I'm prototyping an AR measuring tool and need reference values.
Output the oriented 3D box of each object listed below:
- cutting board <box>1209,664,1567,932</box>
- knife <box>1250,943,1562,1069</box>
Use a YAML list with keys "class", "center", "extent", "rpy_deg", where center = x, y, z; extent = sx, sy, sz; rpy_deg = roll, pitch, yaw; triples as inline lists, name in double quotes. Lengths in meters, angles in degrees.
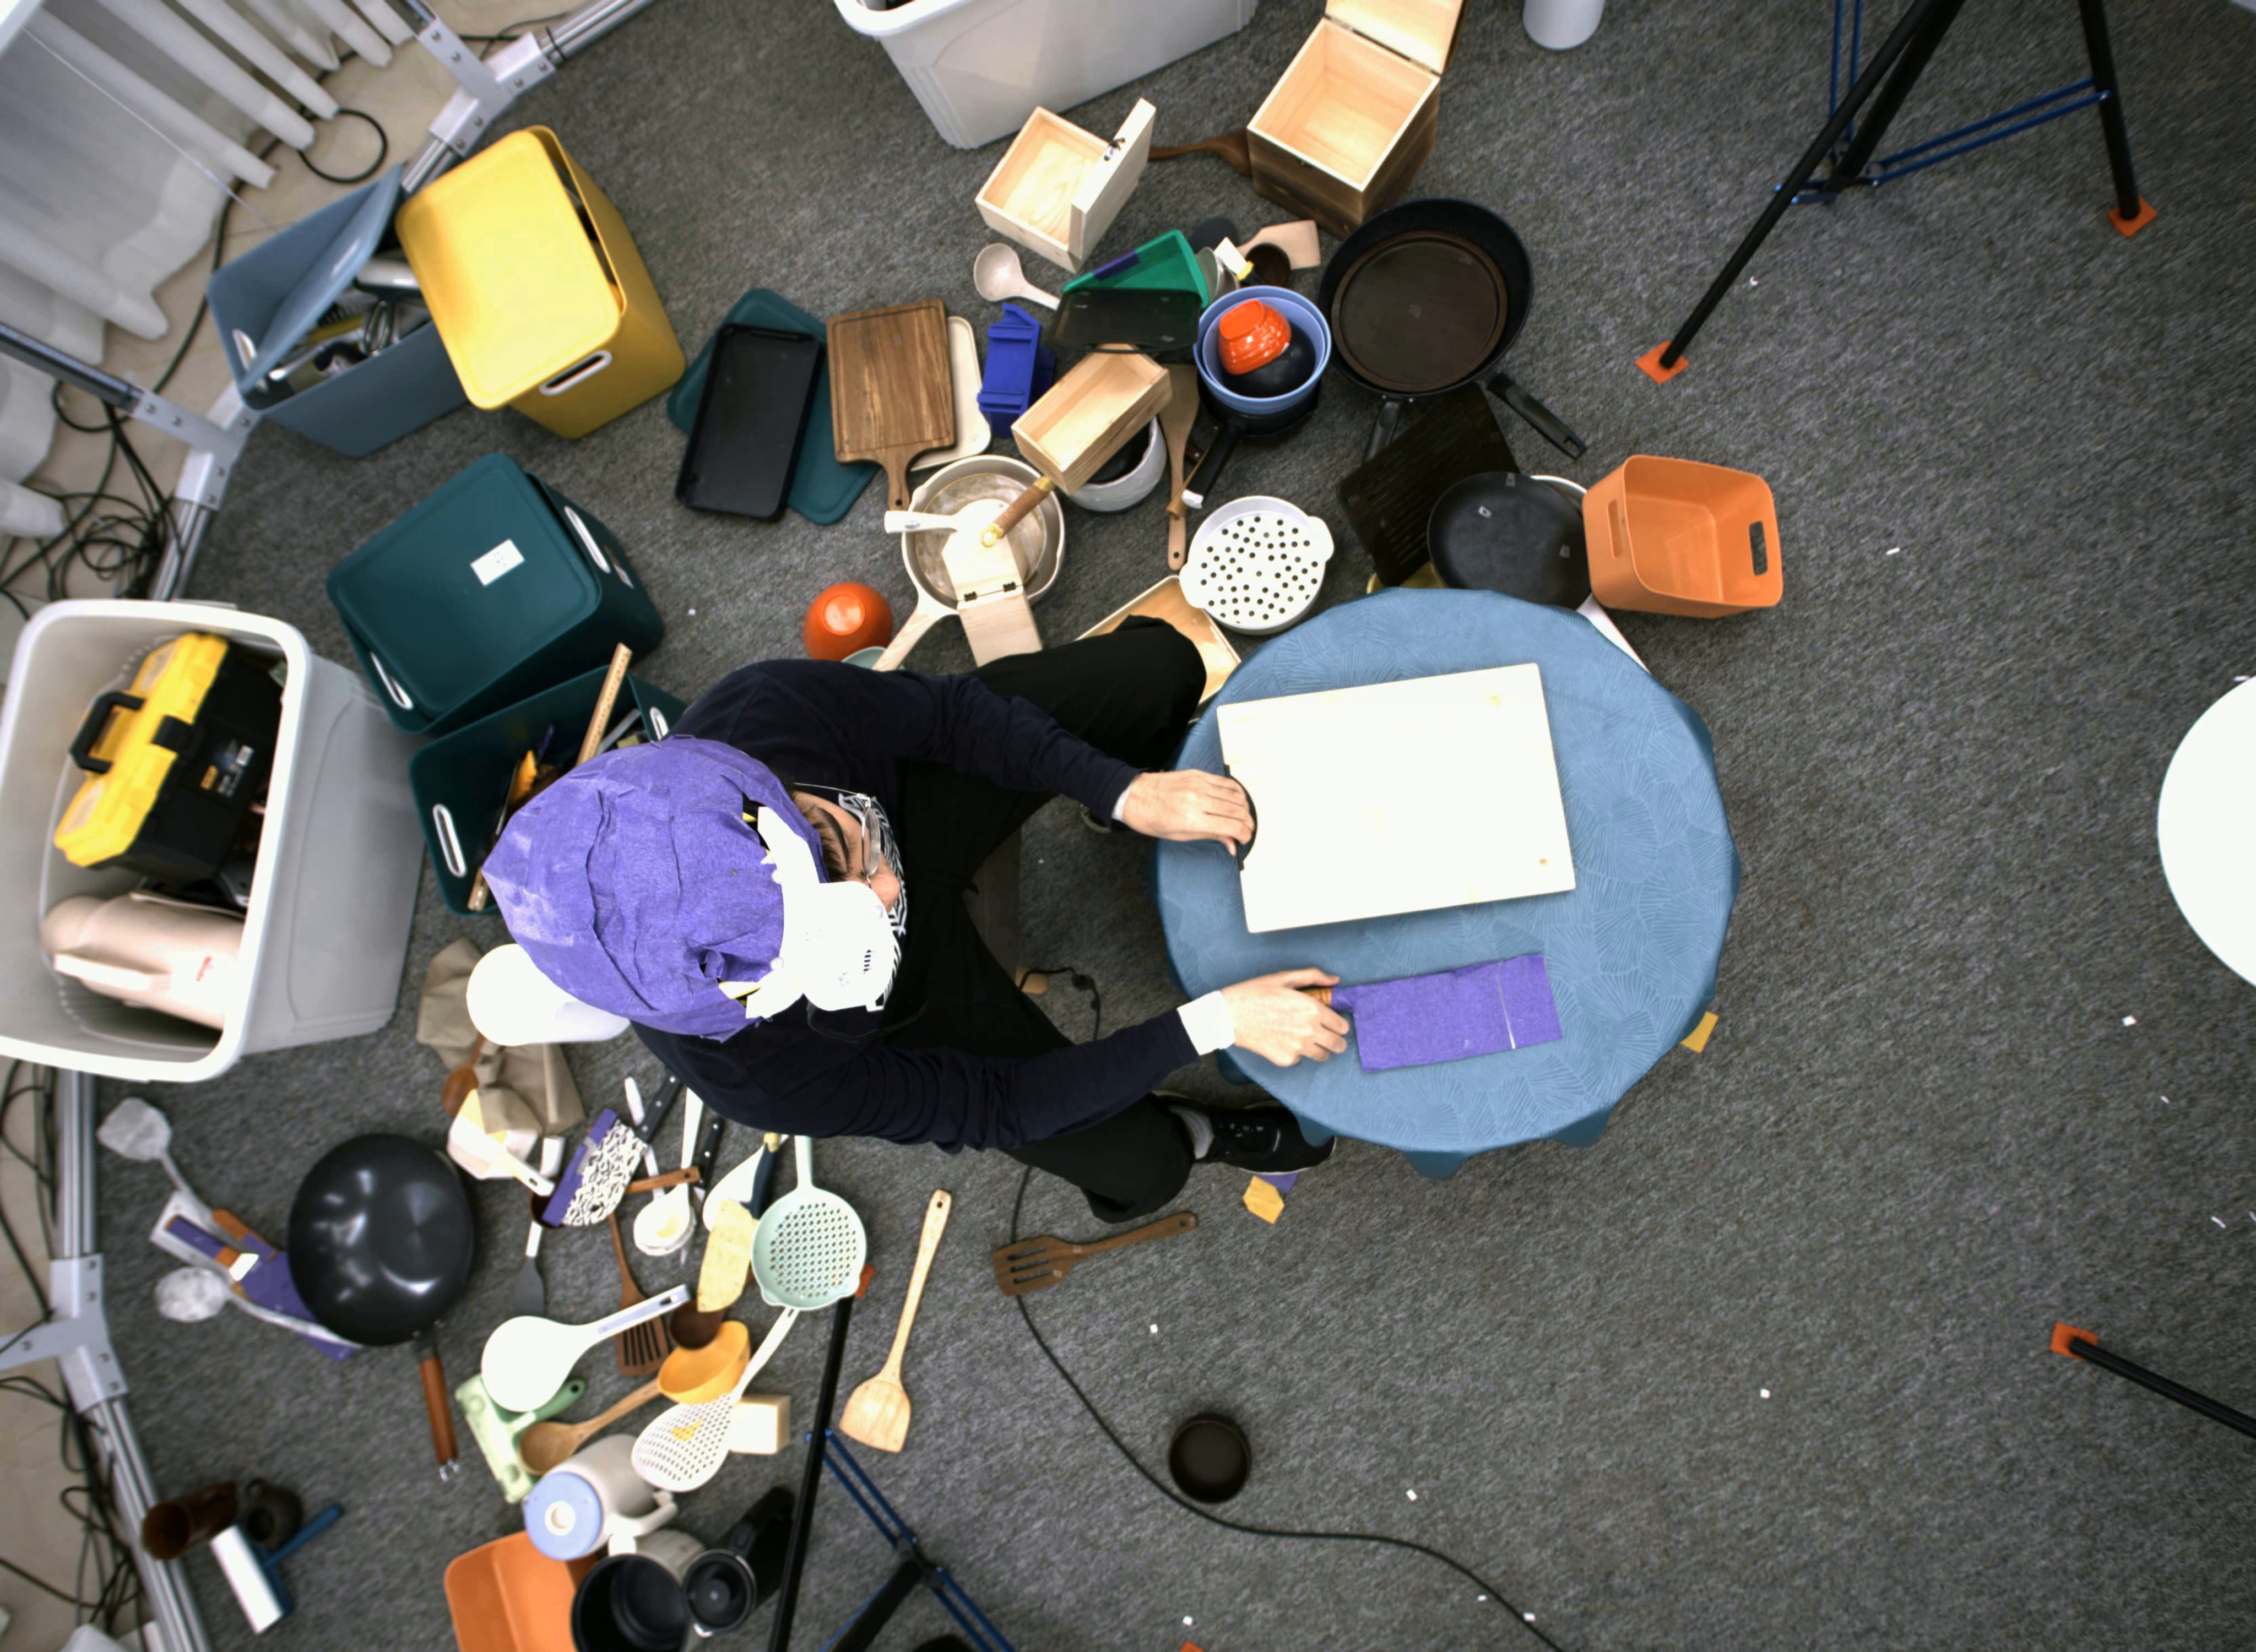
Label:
- class: "cutting board"
  center: [0.272, -0.031, 1.435]
  extent: [0.349, 0.023, 0.249]
  rpy_deg: [-8, 85, 3]
- class: "knife"
  center: [0.288, 0.199, 1.436]
  extent: [0.317, 0.032, 0.103]
  rpy_deg: [-12, 84, 9]
